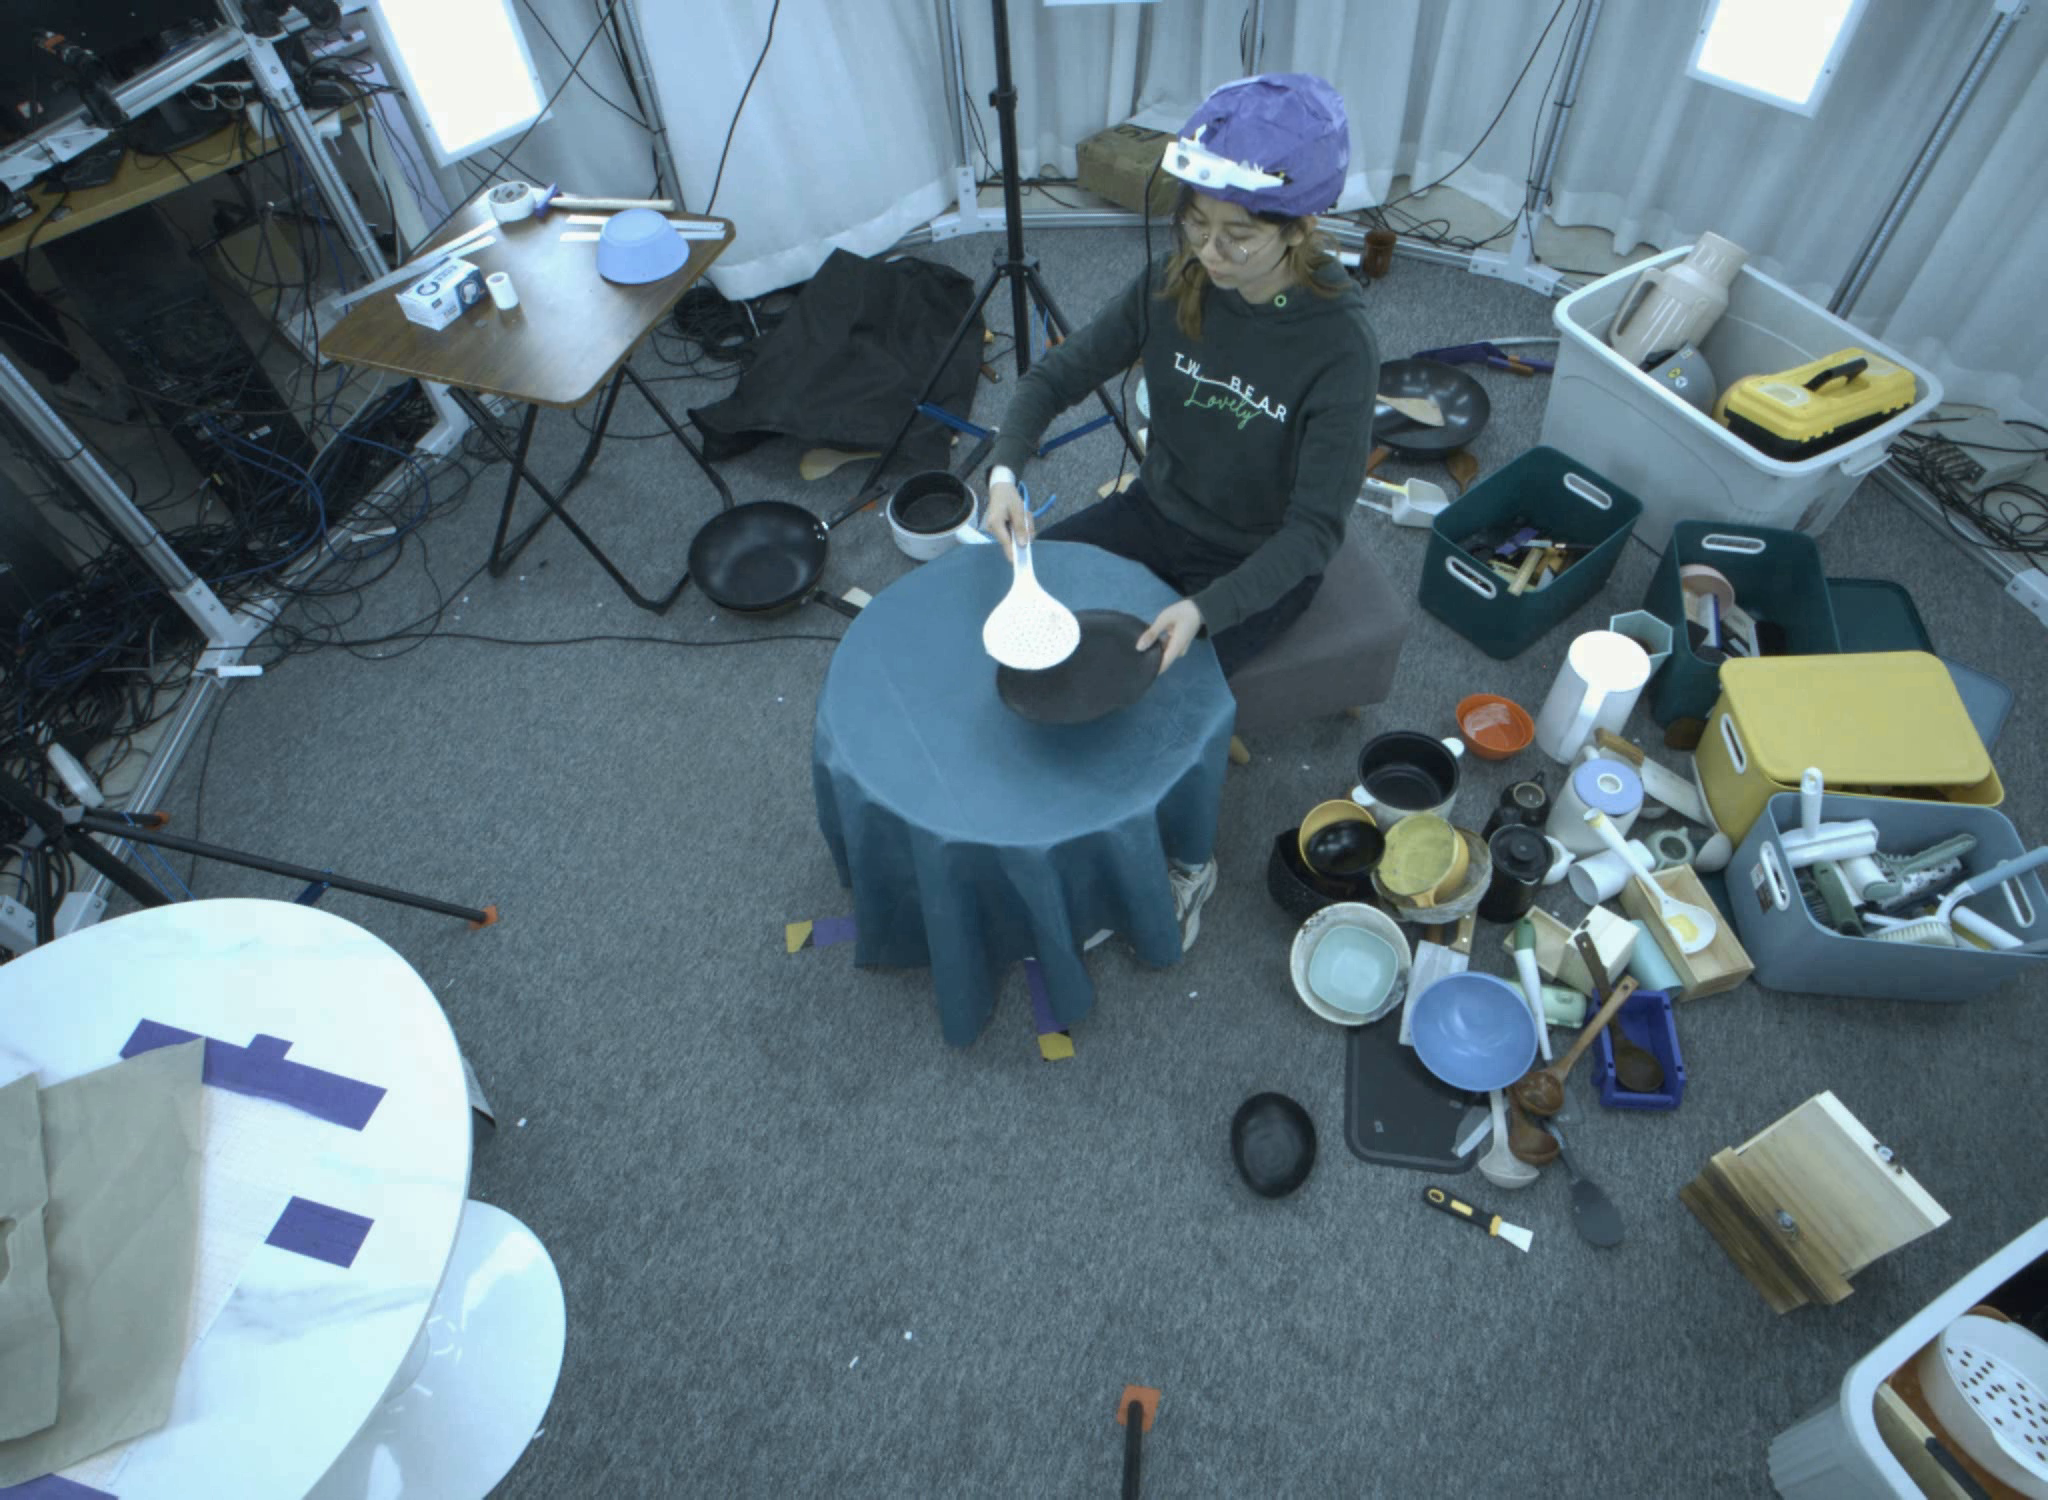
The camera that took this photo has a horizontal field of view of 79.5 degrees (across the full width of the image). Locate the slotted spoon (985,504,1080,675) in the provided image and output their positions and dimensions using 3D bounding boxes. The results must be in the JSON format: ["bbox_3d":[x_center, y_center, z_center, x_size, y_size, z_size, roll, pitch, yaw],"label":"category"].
[{"bbox_3d":[0.002,-0.243,1.820,0.136,0.046,0.345,-3,59,-5],"label":"slotted spoon"}]

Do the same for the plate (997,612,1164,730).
[{"bbox_3d":[0.082,-0.110,1.767,0.243,0.024,0.242,-8,45,9],"label":"plate"}]
